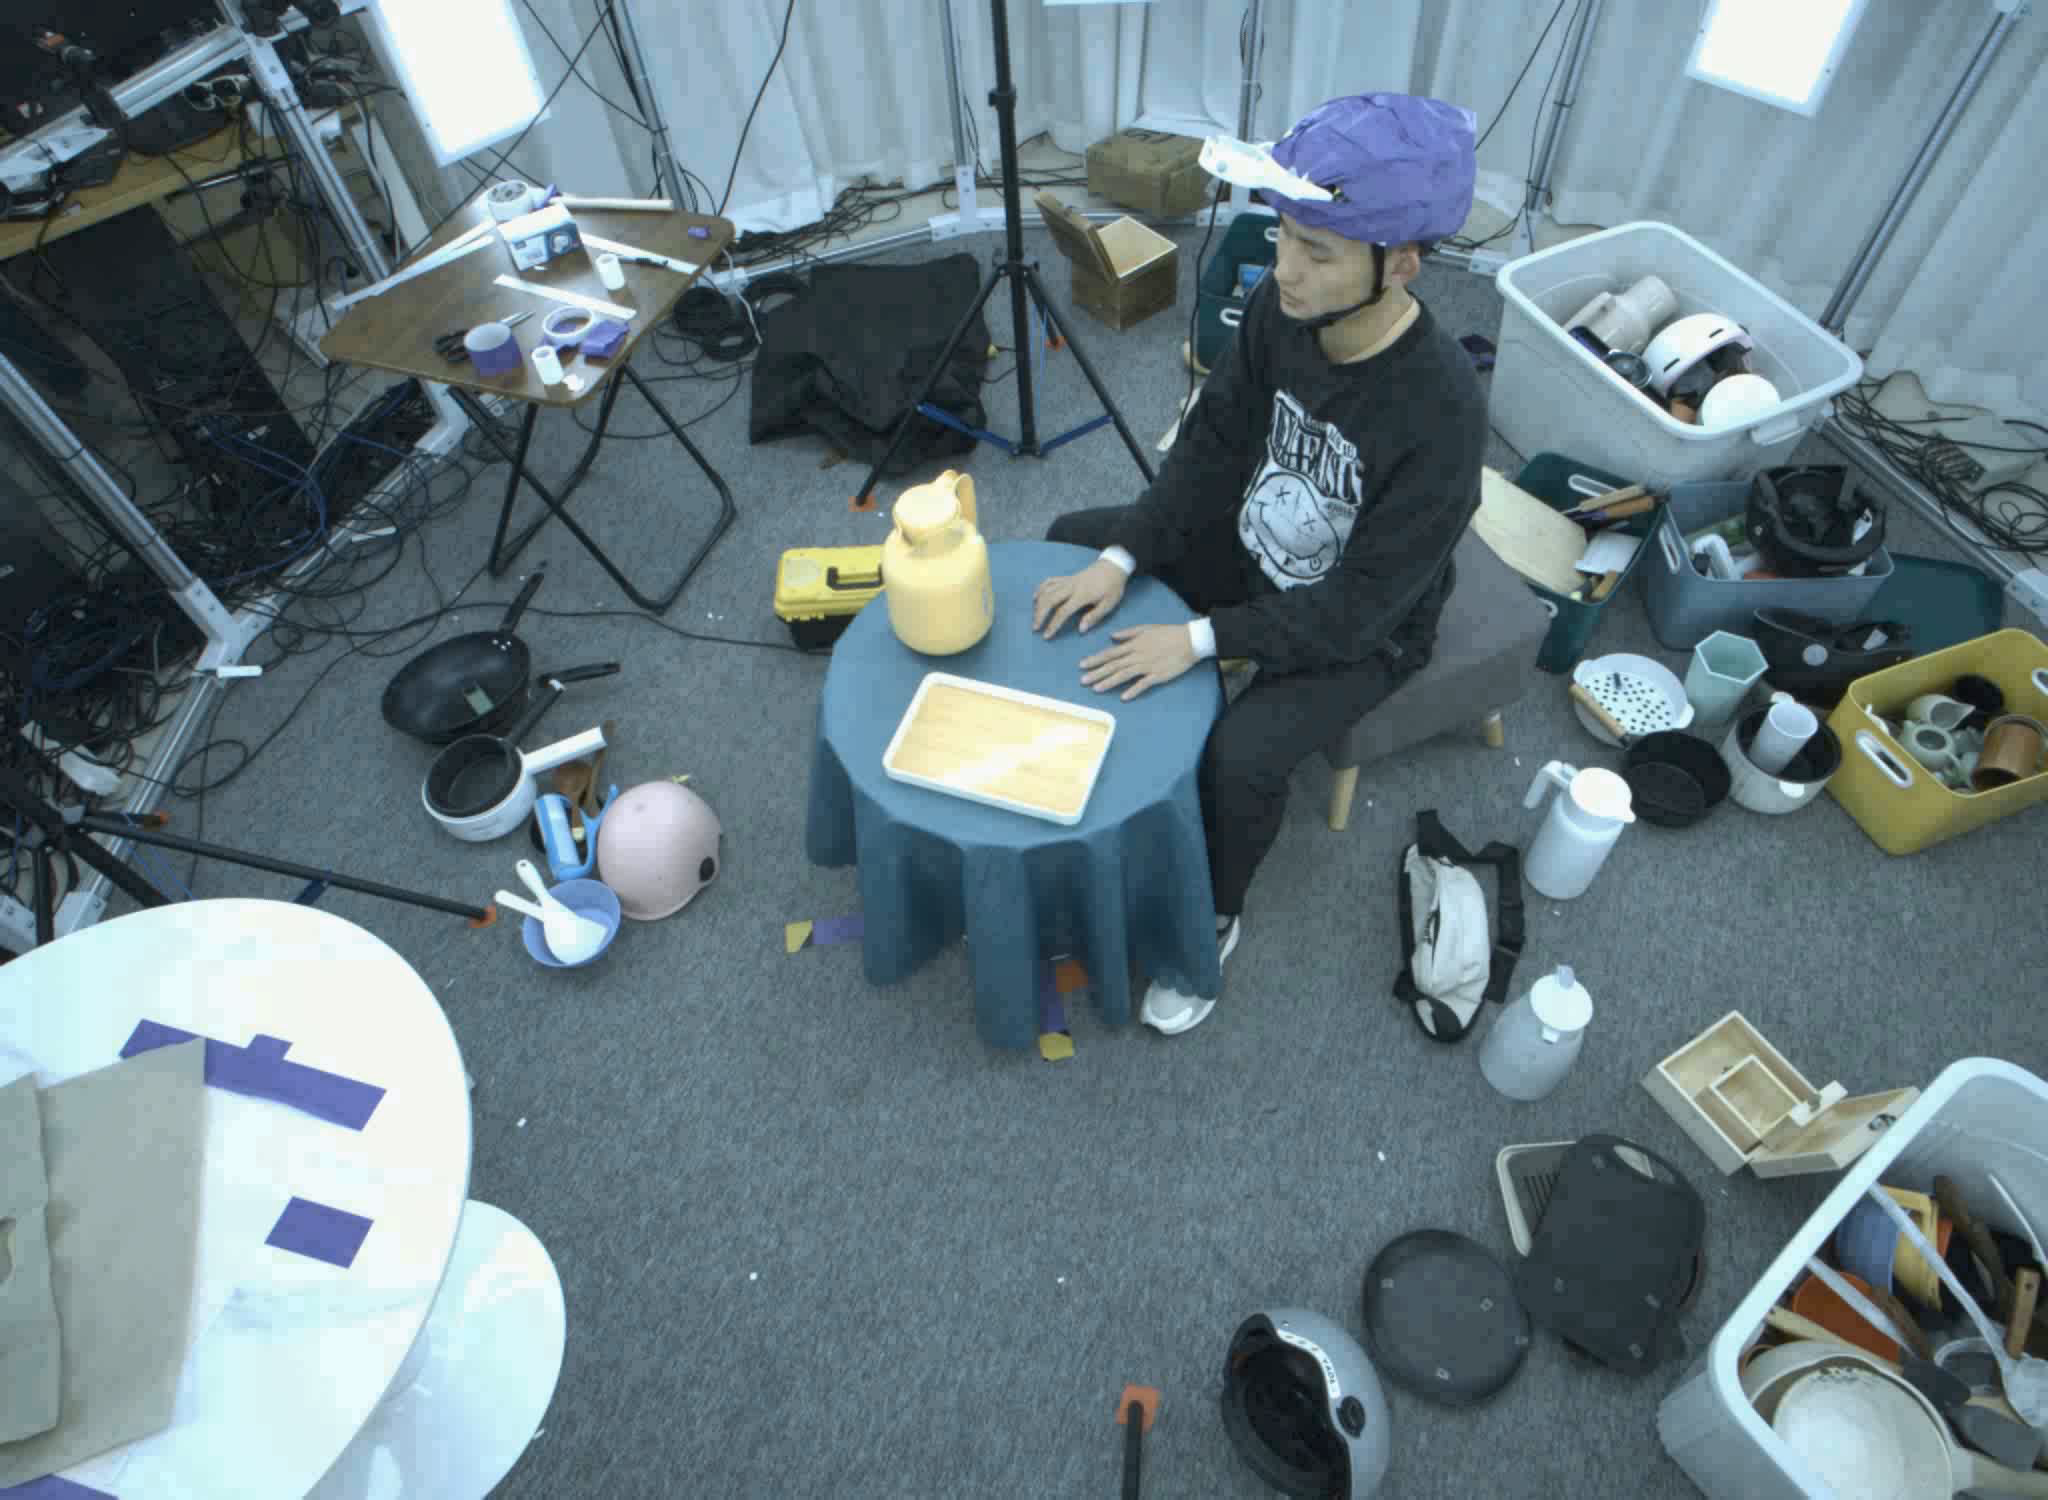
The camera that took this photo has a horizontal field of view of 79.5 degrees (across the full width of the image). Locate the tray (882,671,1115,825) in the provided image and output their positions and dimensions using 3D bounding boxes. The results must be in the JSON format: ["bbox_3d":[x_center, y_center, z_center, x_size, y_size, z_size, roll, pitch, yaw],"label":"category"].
[{"bbox_3d":[-0.035,-0.007,1.773,0.297,0.028,0.191,15,57,12],"label":"tray"}]

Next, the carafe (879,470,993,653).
[{"bbox_3d":[-0.125,-0.289,1.832,0.161,0.263,0.202,22,60,15],"label":"carafe"}]
